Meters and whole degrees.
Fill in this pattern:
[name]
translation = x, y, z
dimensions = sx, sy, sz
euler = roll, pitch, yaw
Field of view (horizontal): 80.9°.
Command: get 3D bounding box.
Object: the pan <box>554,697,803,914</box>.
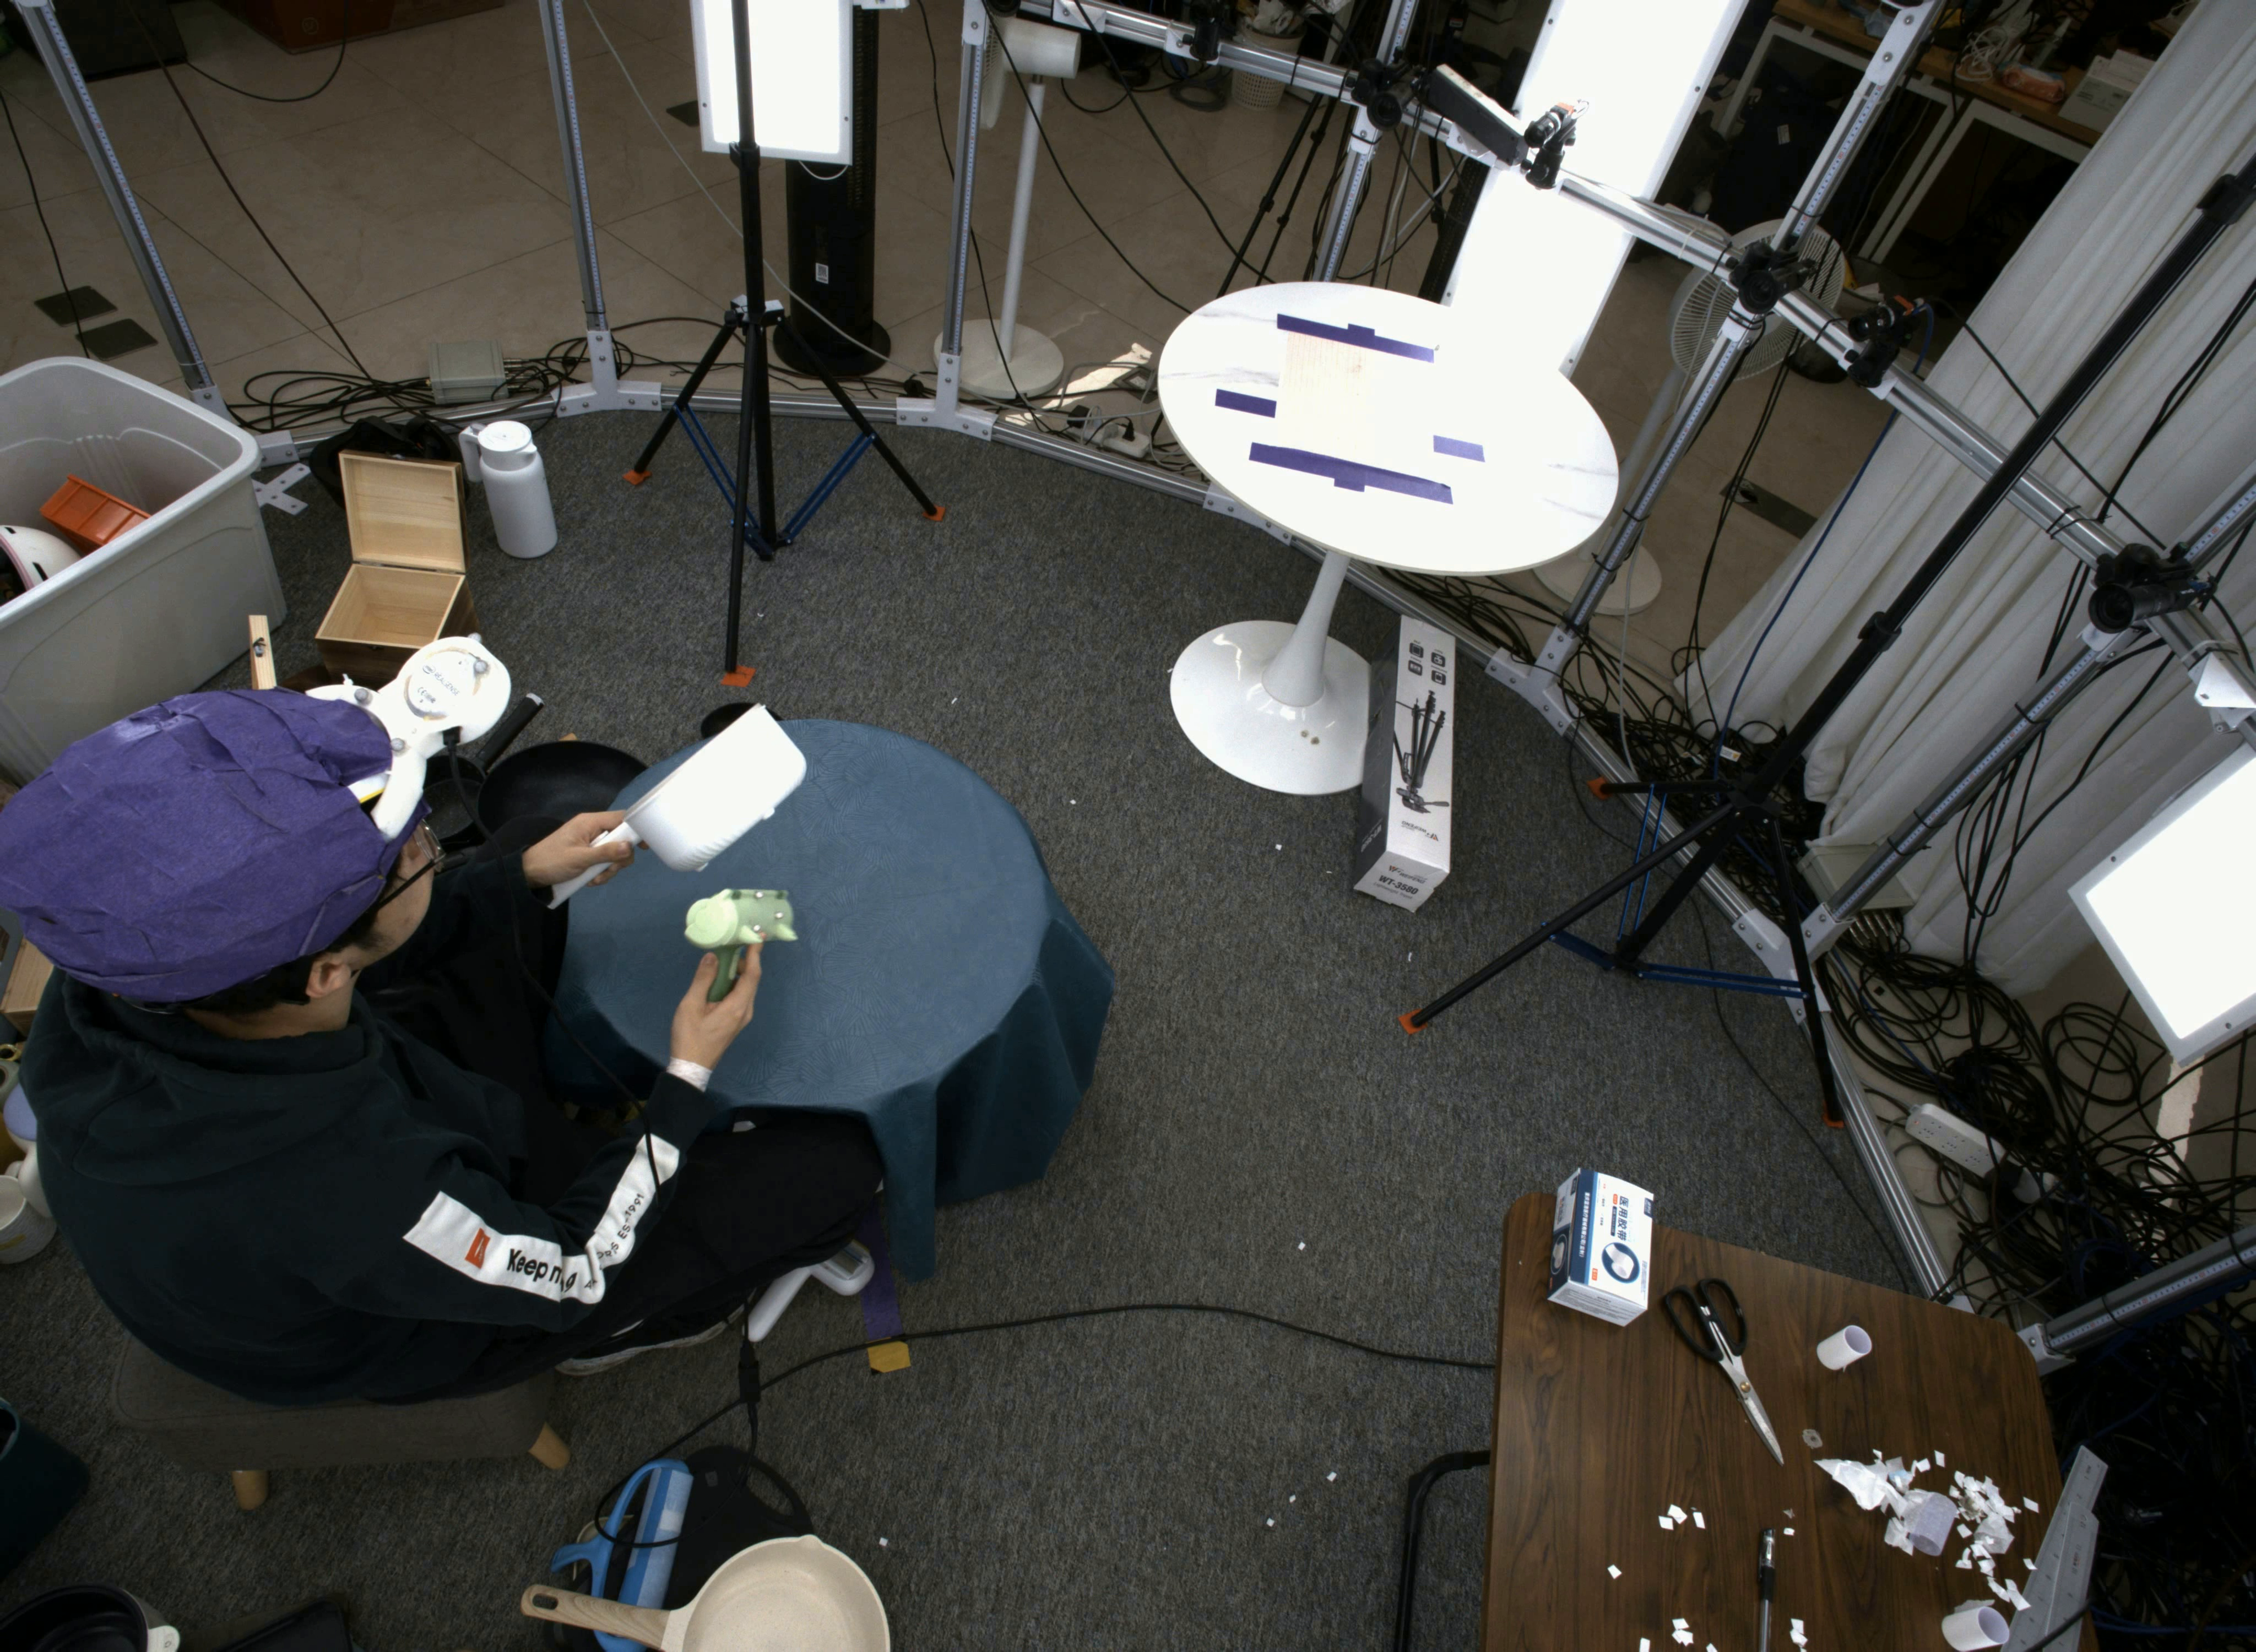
[pan]
translation = -0.514, 0.005, 1.456
dimensions = 0.104, 0.353, 0.198
euler = 49, 14, -14

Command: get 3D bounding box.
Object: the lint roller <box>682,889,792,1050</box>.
[lint roller]
translation = -0.435, 0.158, 1.422
dimensions = 0.081, 0.199, 0.185
euler = 11, 89, 3
